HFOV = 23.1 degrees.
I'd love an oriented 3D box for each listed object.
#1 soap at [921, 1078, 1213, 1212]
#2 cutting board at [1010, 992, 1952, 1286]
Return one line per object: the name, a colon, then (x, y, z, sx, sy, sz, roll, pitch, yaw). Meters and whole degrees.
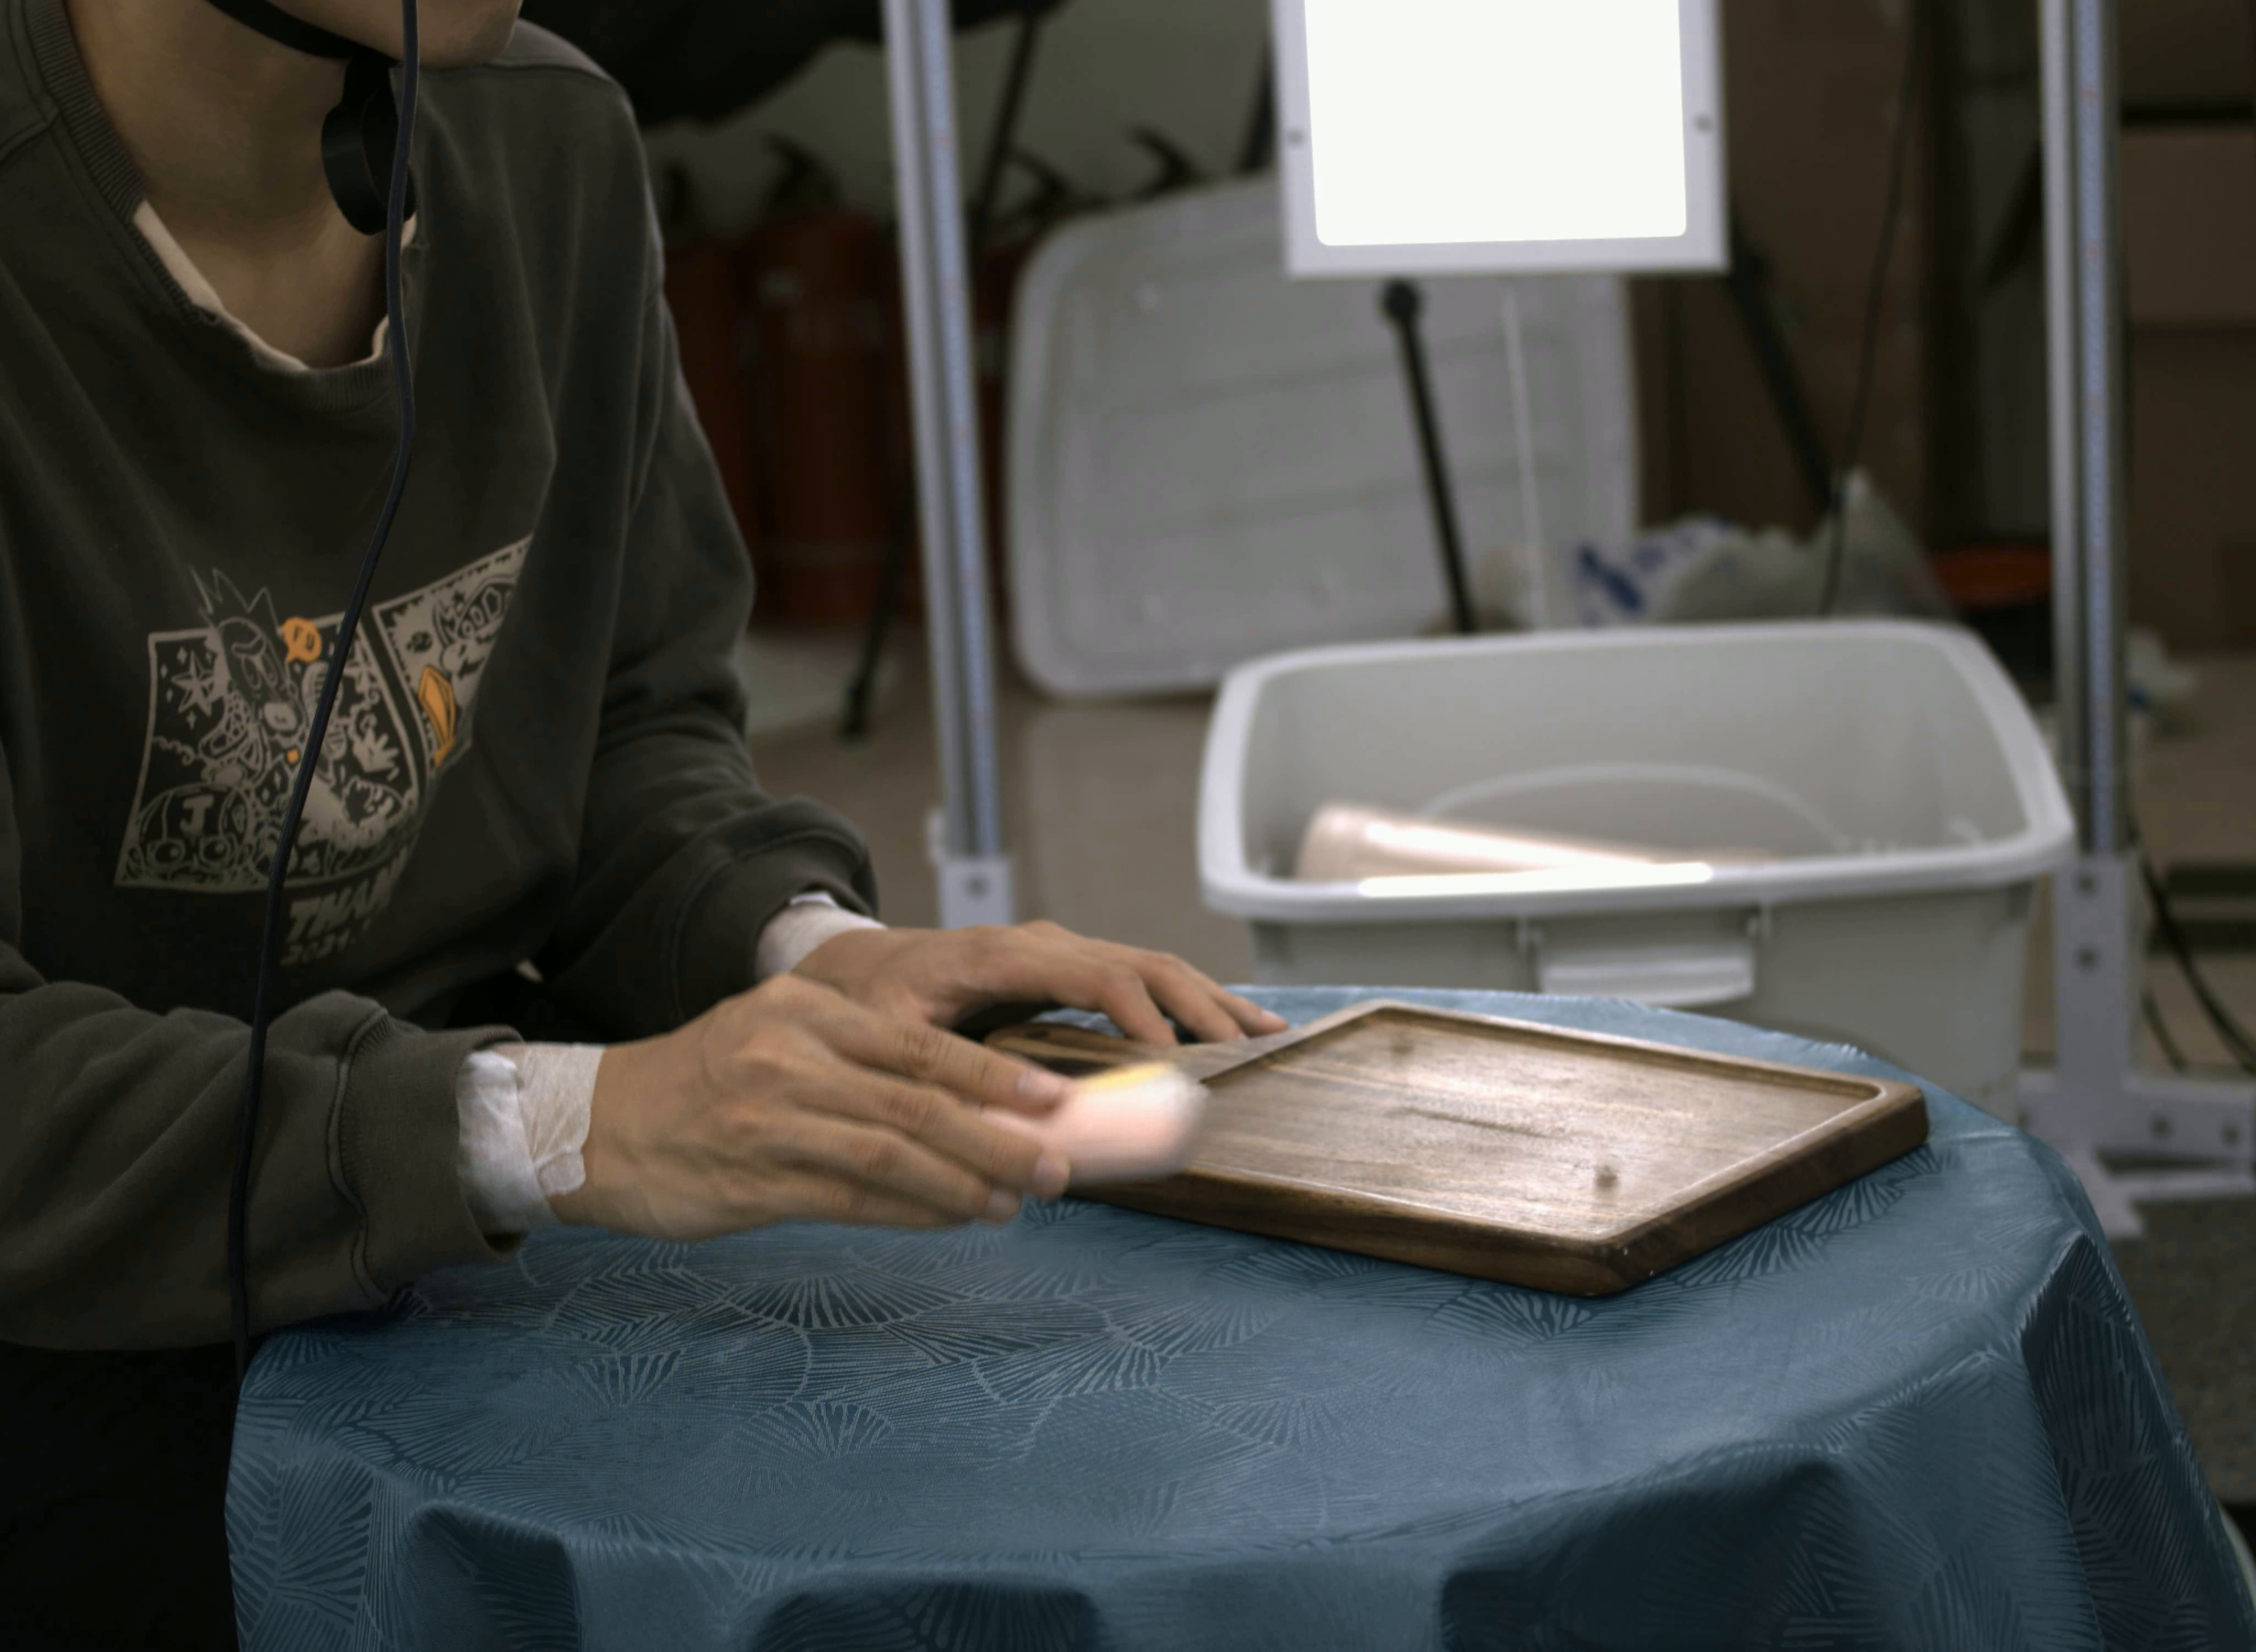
soap: (-0.019, 0.102, 1.760, 0.094, 0.030, 0.050, -8, 16, 7)
cutting board: (0.094, 0.099, 1.929, 0.360, 0.023, 0.196, 8, 19, 43)
